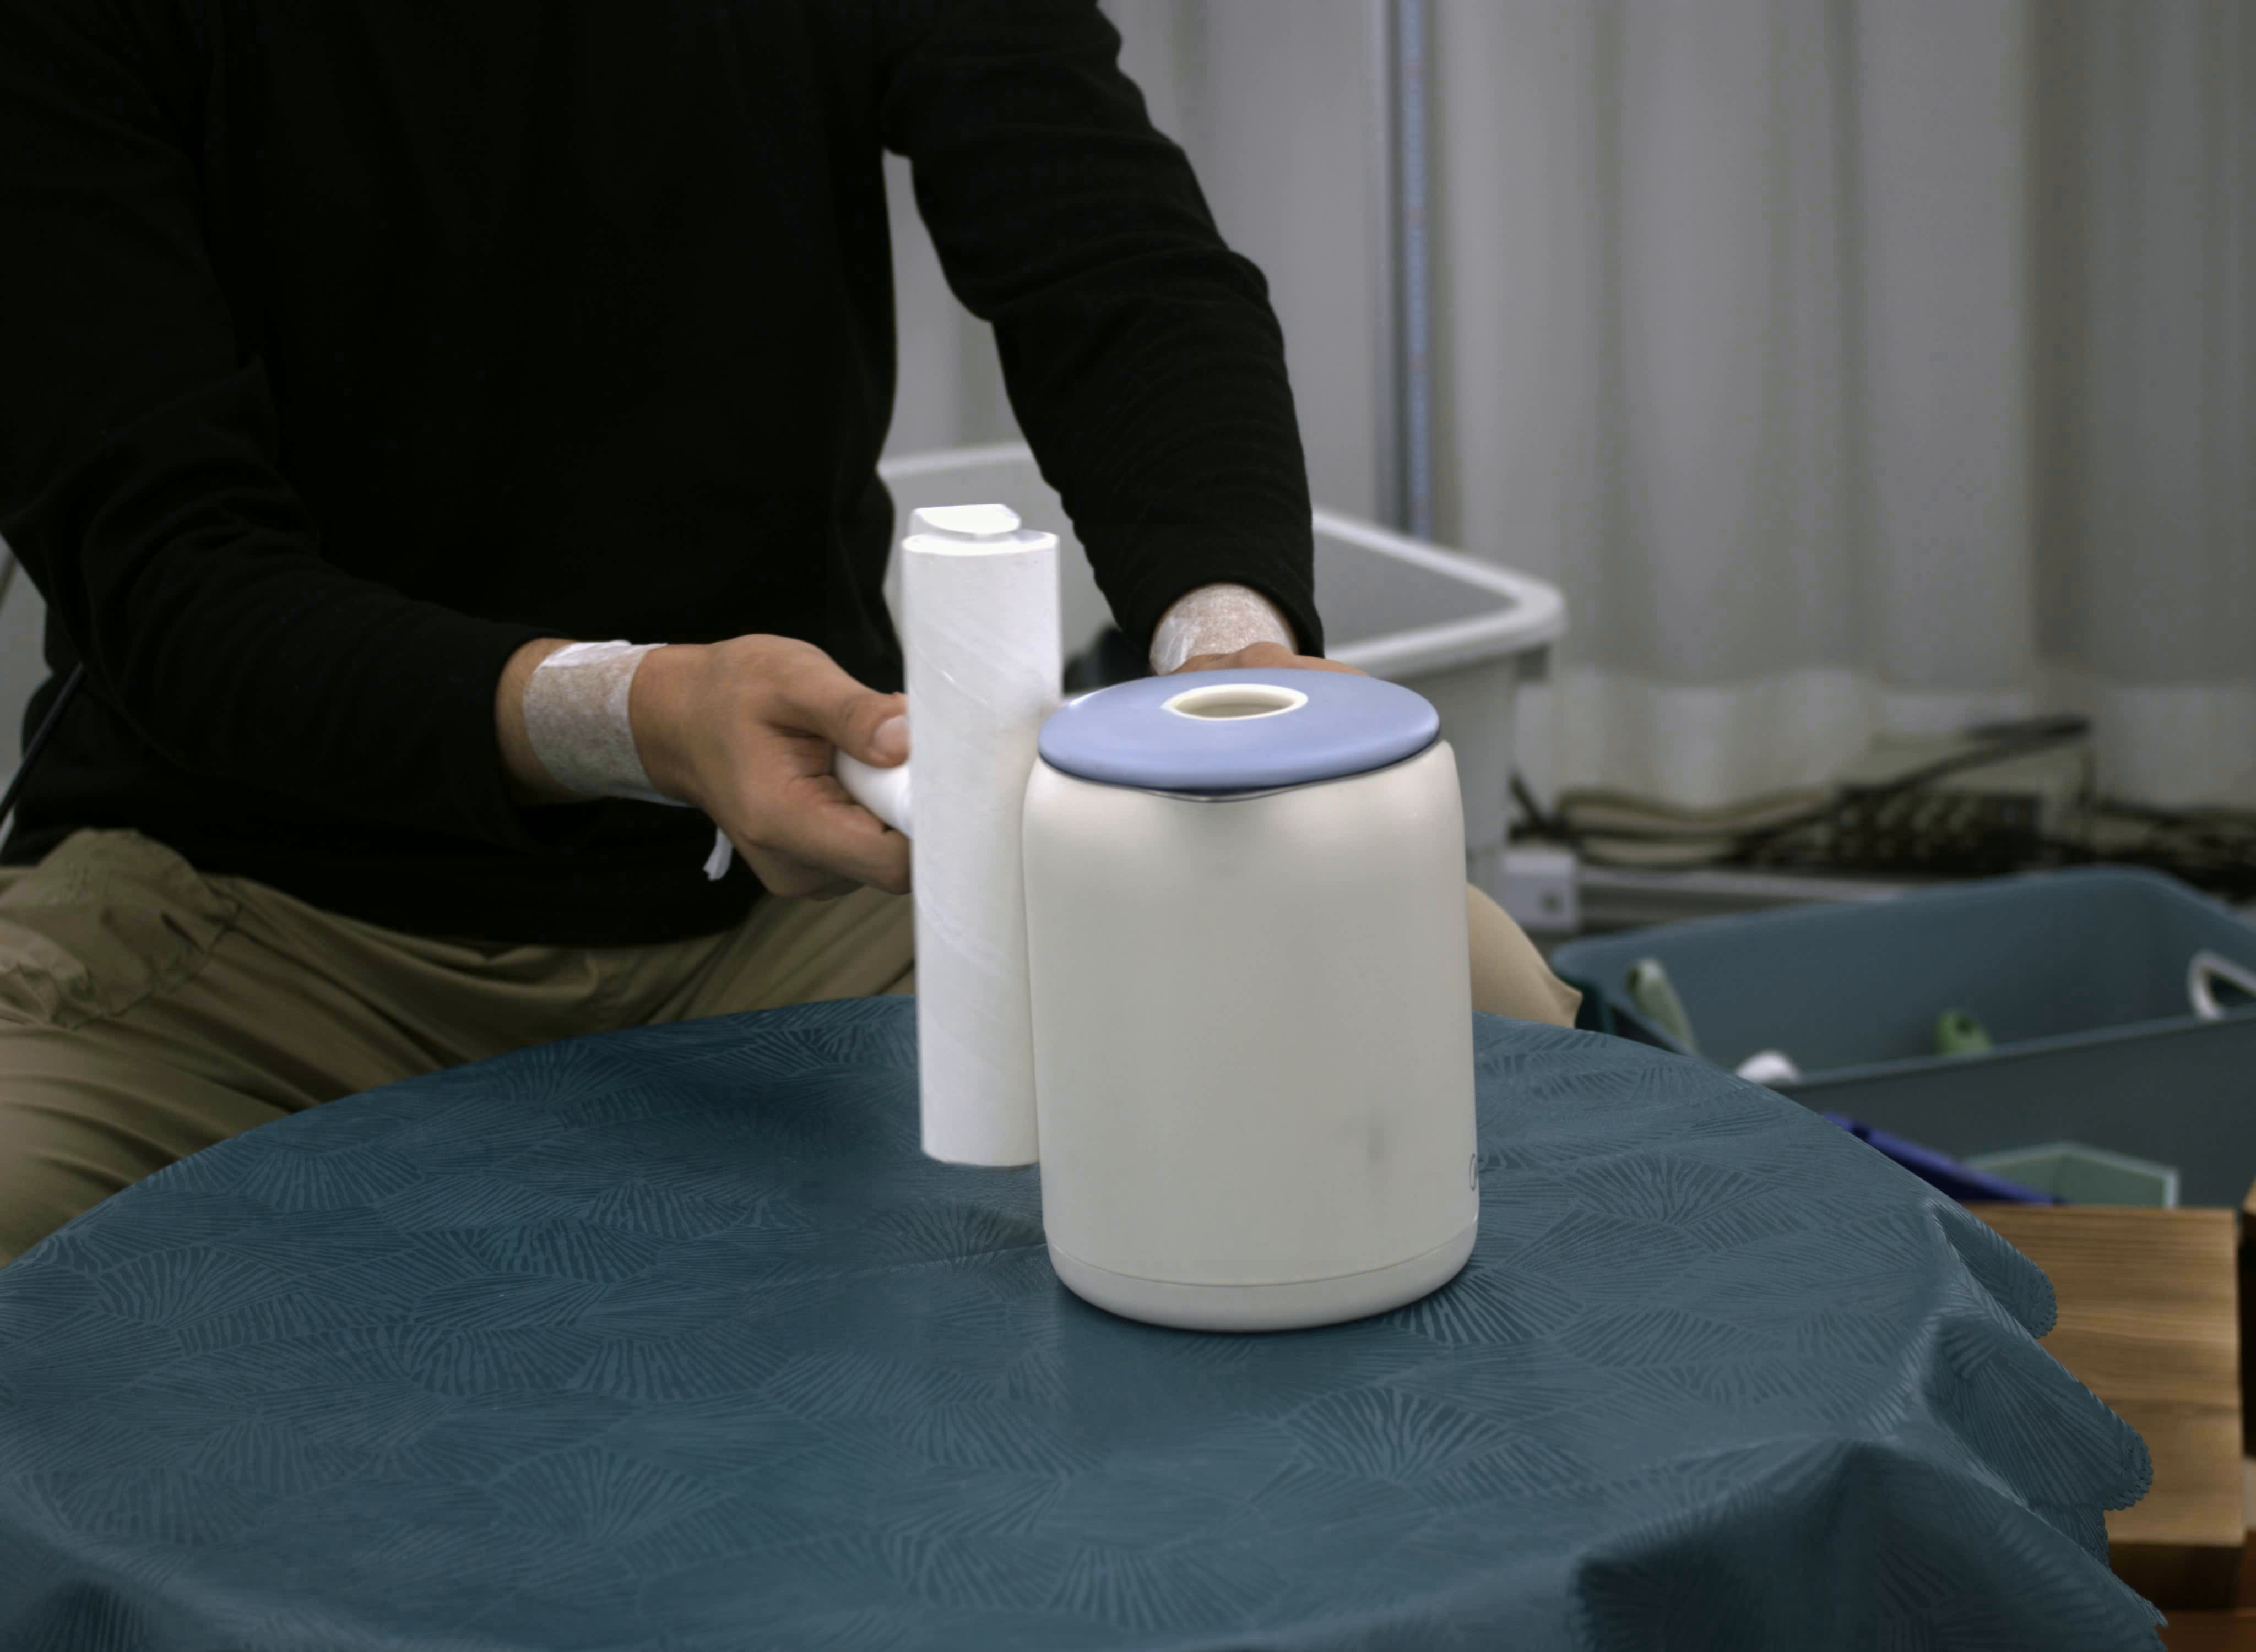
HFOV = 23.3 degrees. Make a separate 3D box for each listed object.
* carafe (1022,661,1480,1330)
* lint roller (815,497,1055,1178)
[{"bbox_3d":[0.038,0.043,1.644,0.132,0.182,0.192,-1,12,5],"label":"carafe"},{"bbox_3d":[-0.072,-0.009,1.737,0.048,0.202,0.227,-6,11,-17],"label":"lint roller"}]
